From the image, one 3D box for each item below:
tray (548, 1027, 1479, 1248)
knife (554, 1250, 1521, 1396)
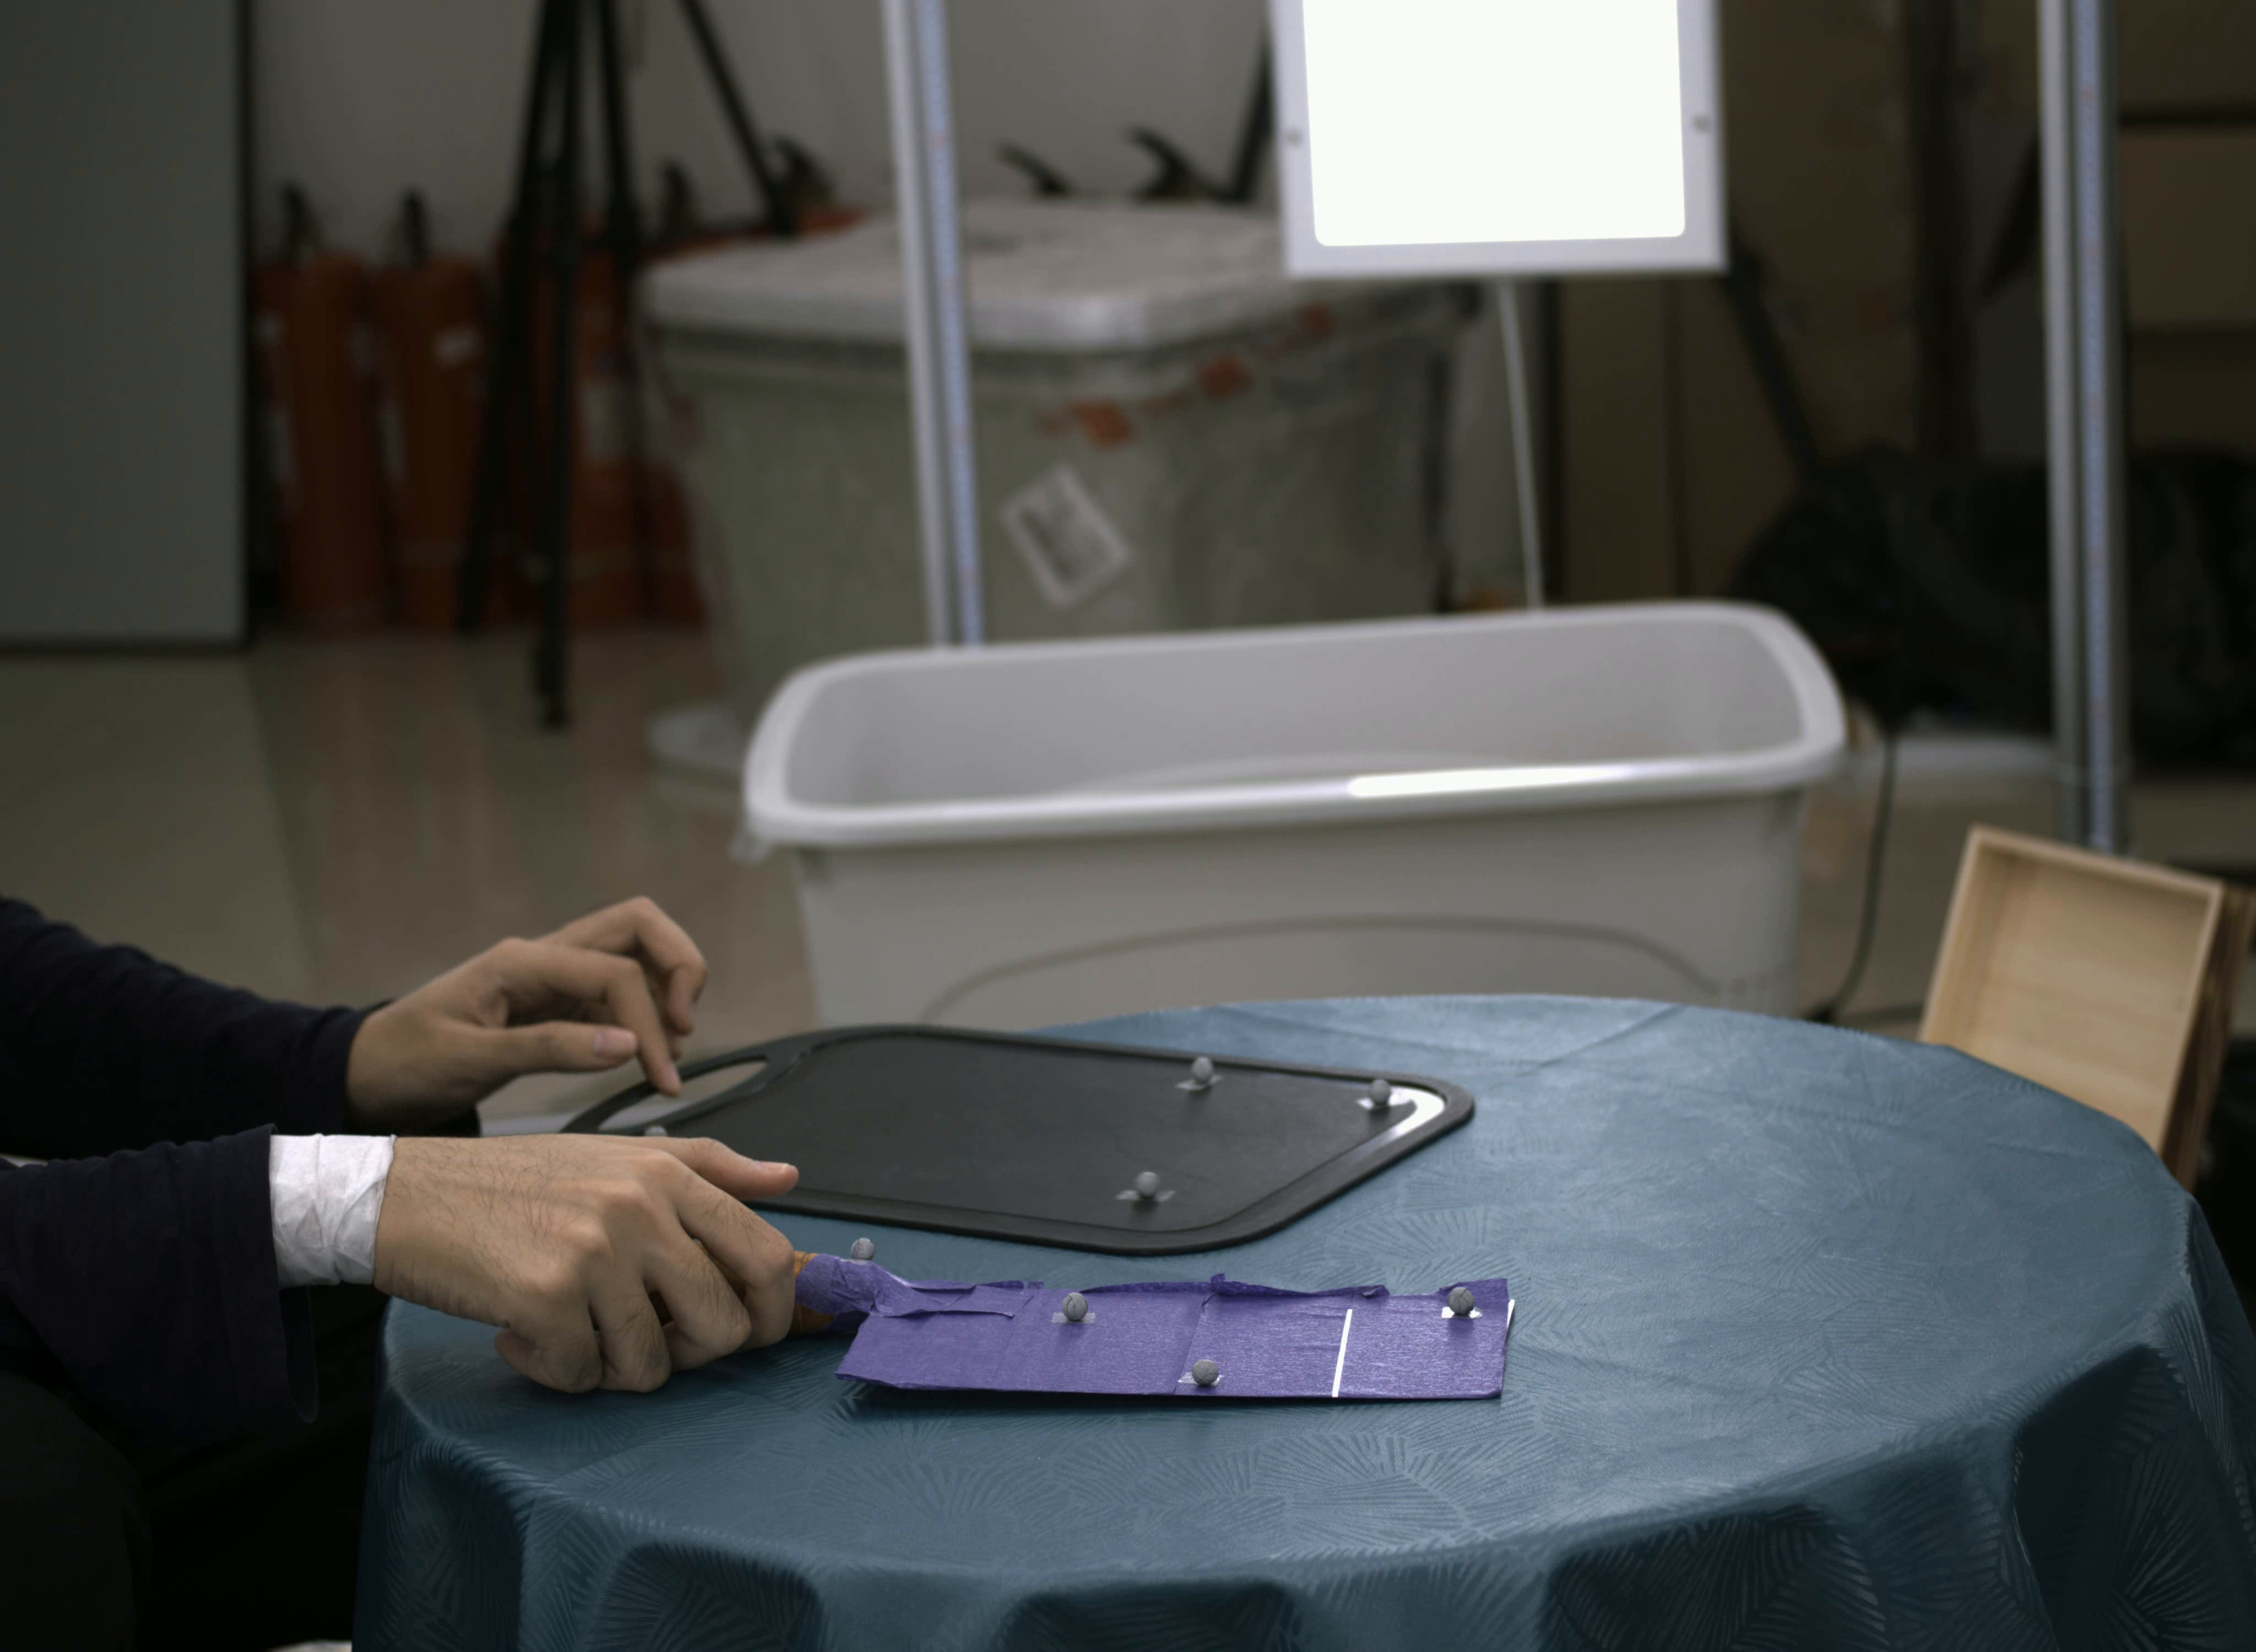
[{"bbox_3d":[-0.049,0.108,1.985,0.332,0.010,0.206,4,16,34],"label":"tray"},{"bbox_3d":[-0.034,0.156,1.737,0.317,0.032,0.103,-2,14,10],"label":"knife"}]
